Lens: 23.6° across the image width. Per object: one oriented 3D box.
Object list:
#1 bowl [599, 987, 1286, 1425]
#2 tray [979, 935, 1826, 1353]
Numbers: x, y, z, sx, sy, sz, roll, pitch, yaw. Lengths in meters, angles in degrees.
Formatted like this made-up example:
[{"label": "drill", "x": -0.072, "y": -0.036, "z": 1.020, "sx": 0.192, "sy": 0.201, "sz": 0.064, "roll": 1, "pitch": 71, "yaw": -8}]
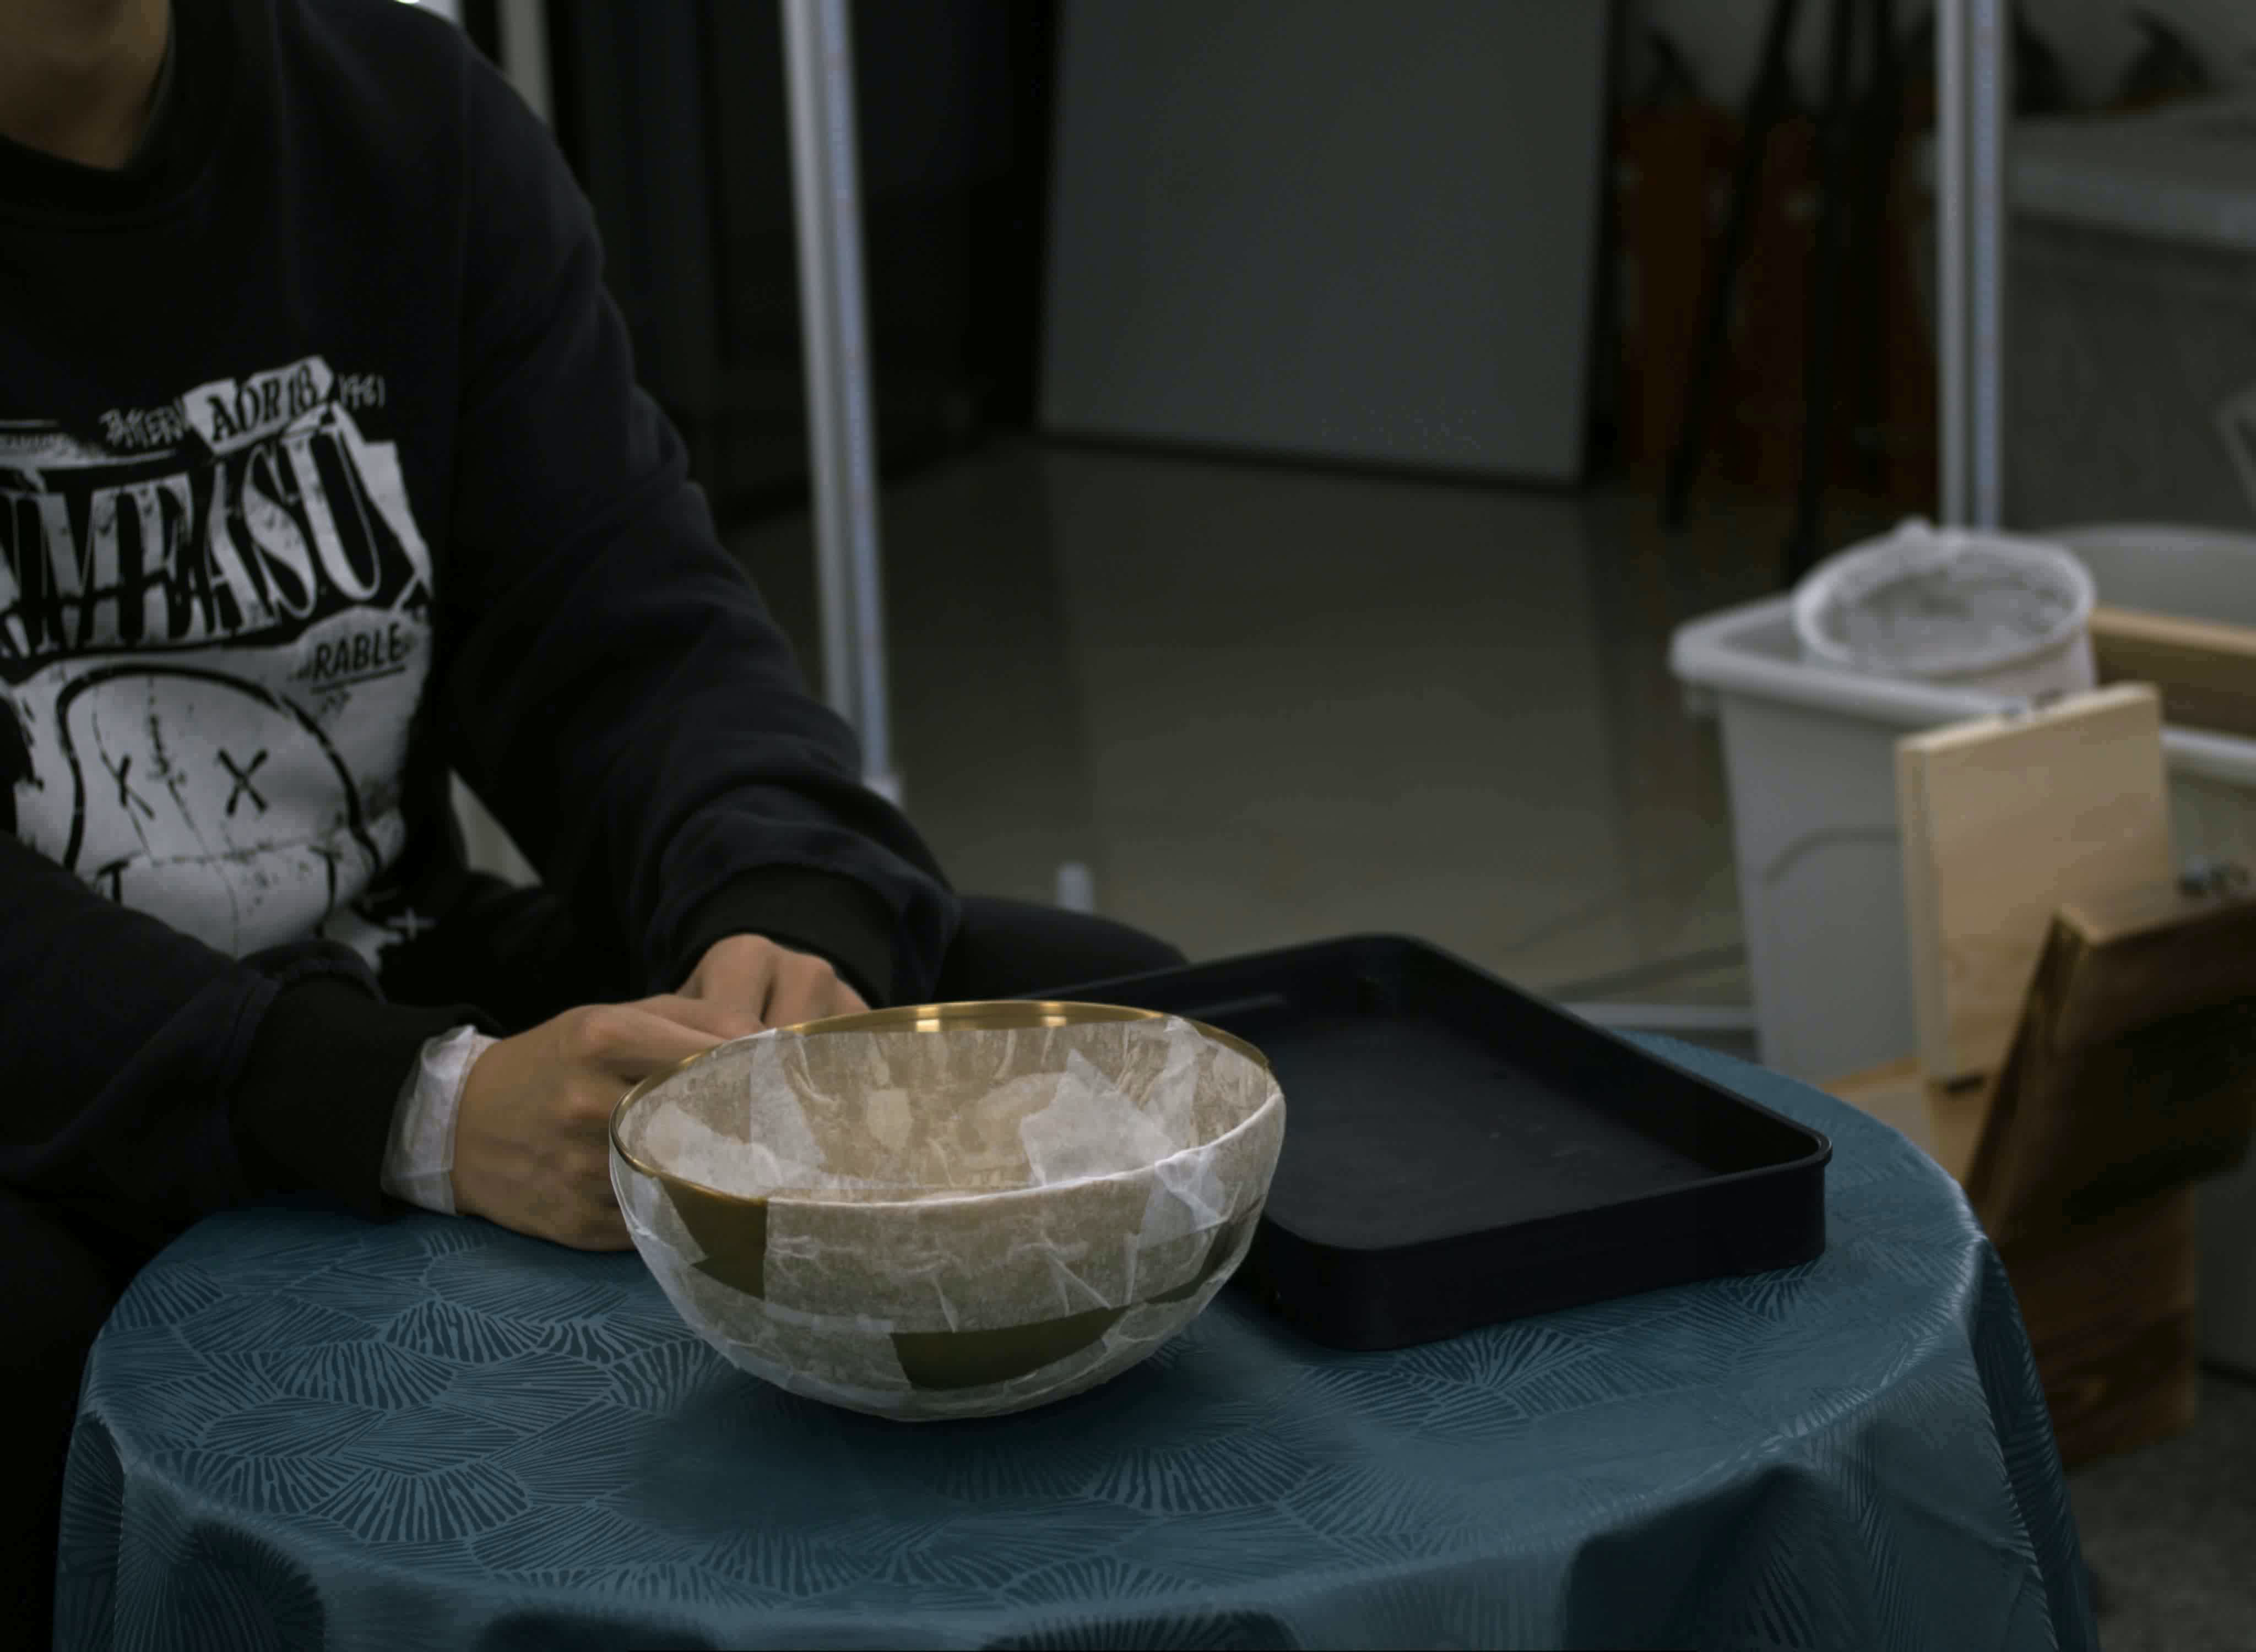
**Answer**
[{"label": "bowl", "x": -0.050, "y": 0.120, "z": 1.597, "sx": 0.212, "sy": 0.095, "sz": 0.215, "roll": -5, "pitch": 15, "yaw": 0}, {"label": "tray", "x": 0.079, "y": 0.099, "z": 1.765, "sx": 0.180, "sy": 0.037, "sz": 0.321, "roll": -9, "pitch": 15, "yaw": -21}]
